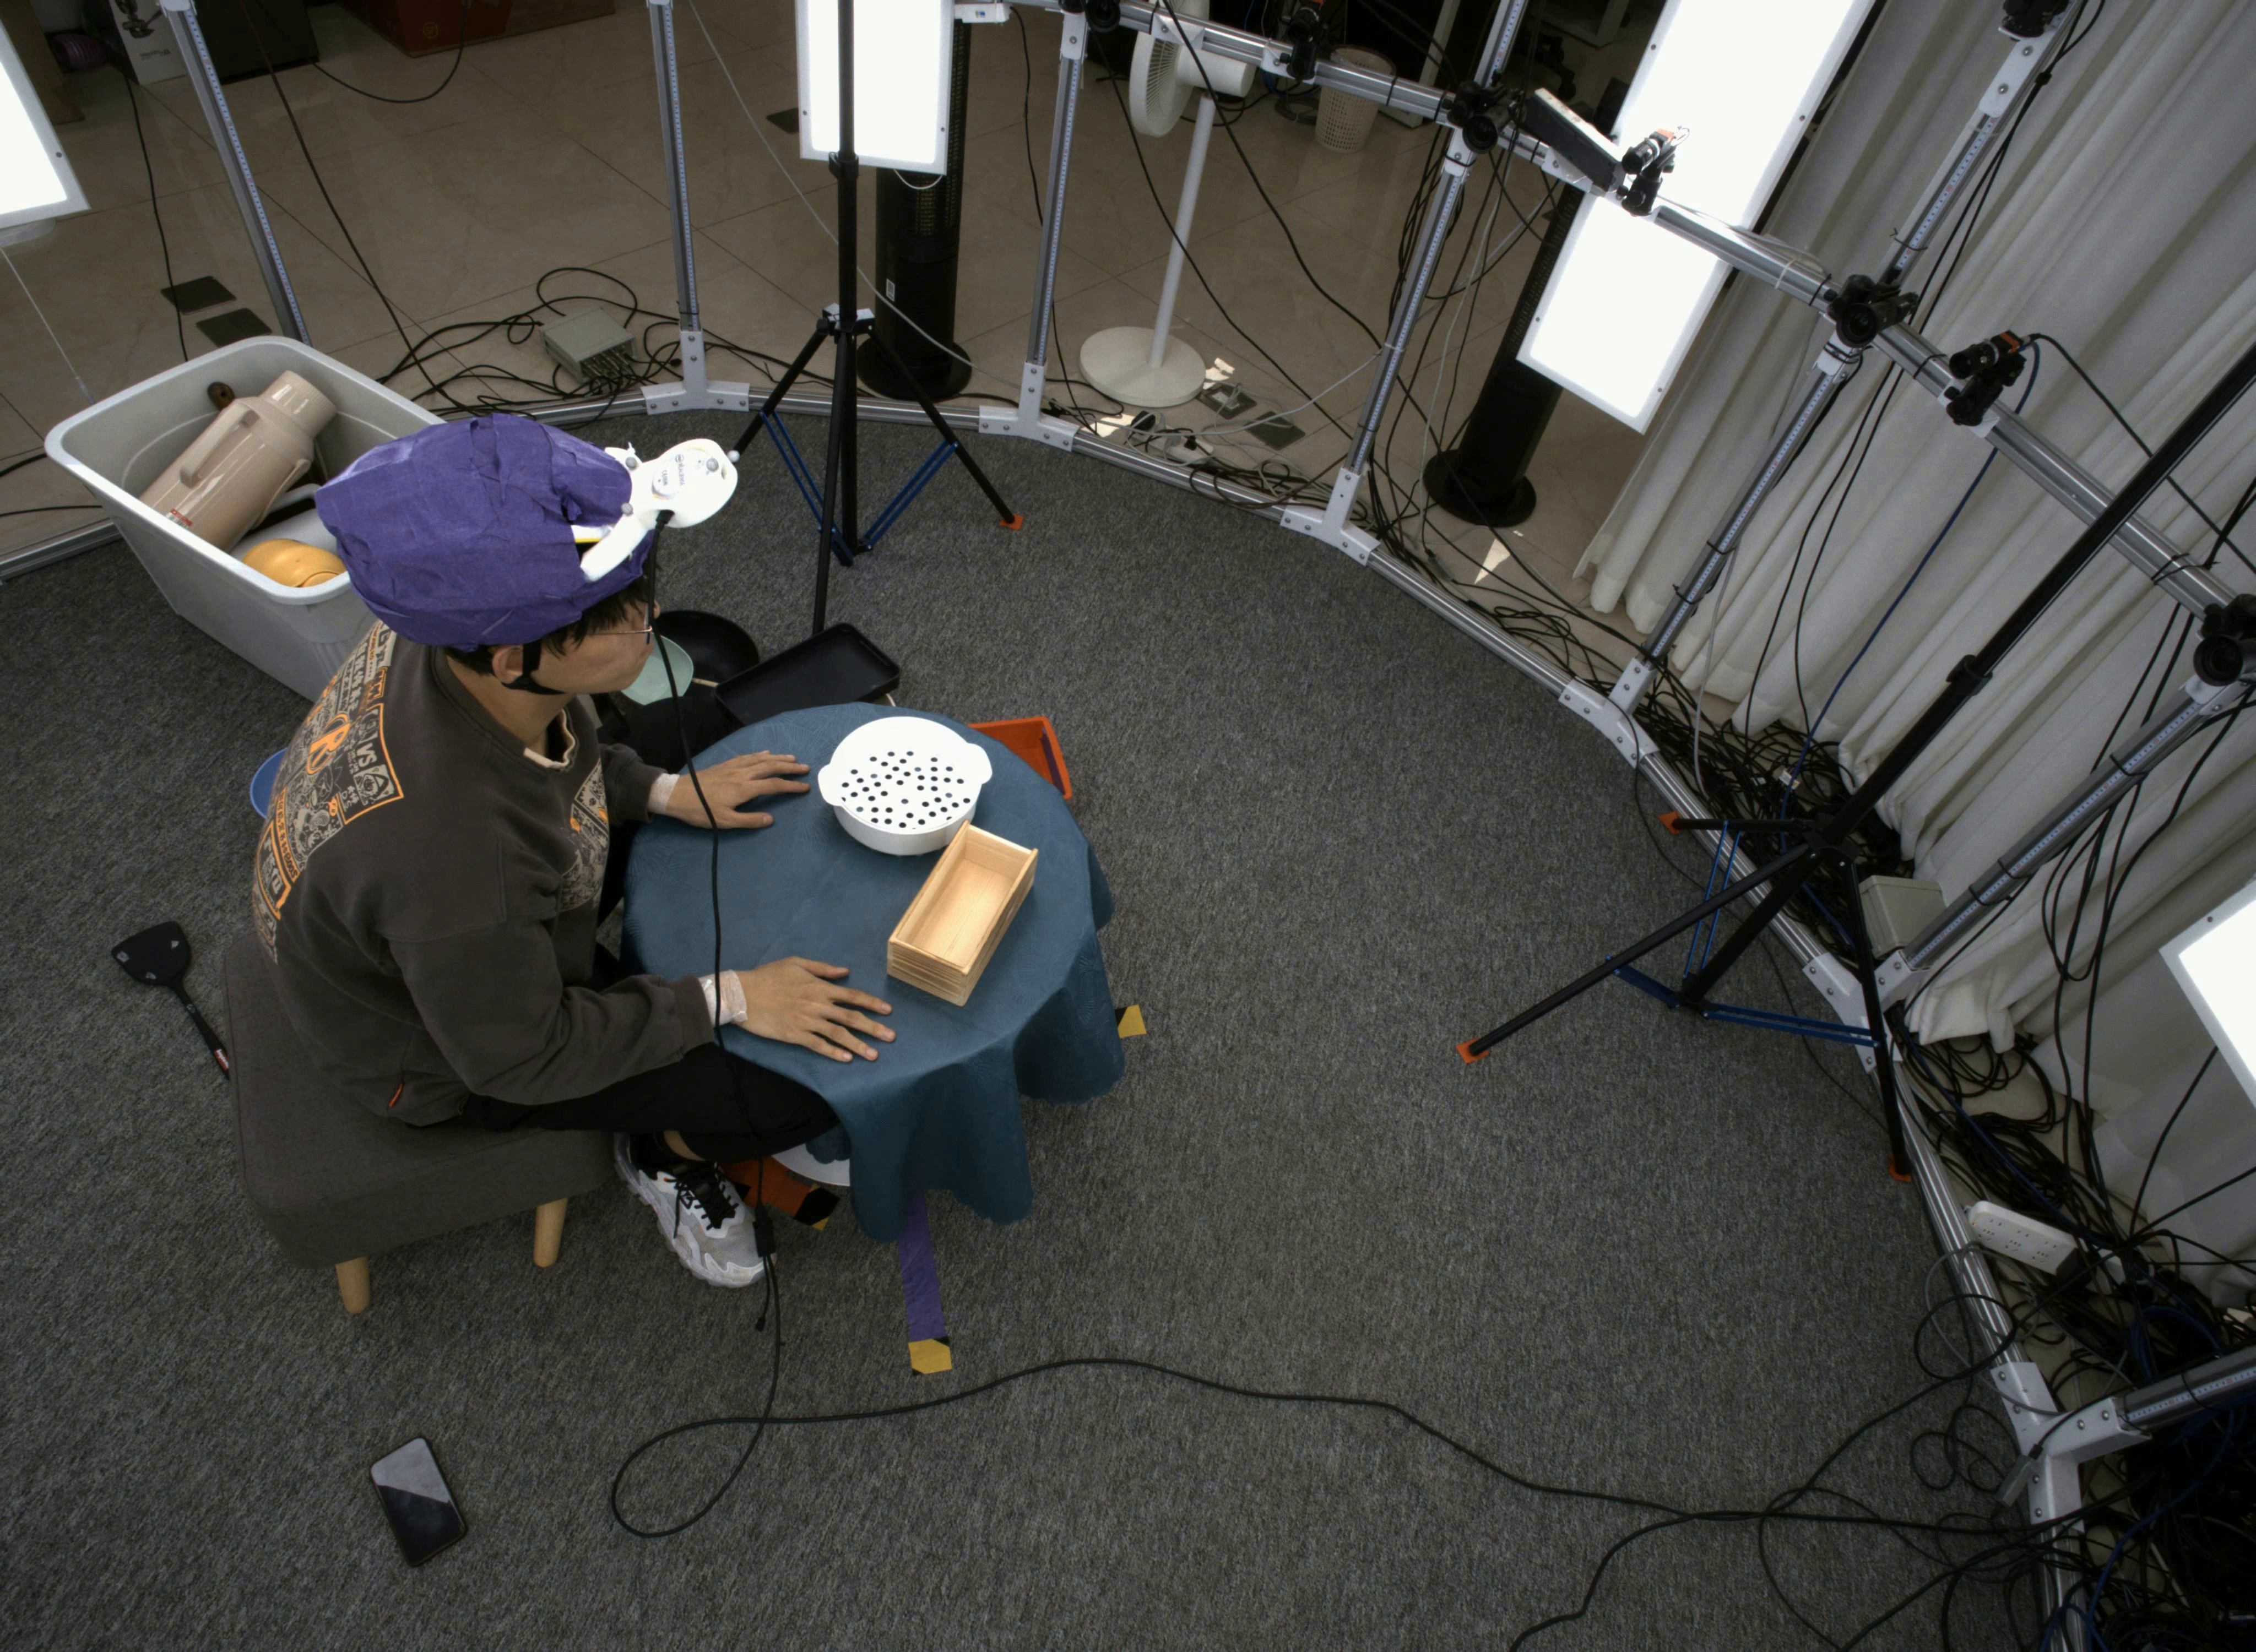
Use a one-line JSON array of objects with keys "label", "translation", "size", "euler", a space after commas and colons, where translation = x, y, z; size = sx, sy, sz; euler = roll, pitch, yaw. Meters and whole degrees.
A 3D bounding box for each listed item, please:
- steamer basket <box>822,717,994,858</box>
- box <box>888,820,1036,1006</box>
[{"label": "steamer basket", "translation": [-0.297, -0.053, 1.765], "size": [0.231, 0.071, 0.197], "euler": [-10, 57, -19]}, {"label": "box", "translation": [-0.209, 0.107, 1.660], "size": [0.106, 0.082, 0.210], "euler": [22, 52, 6]}]
